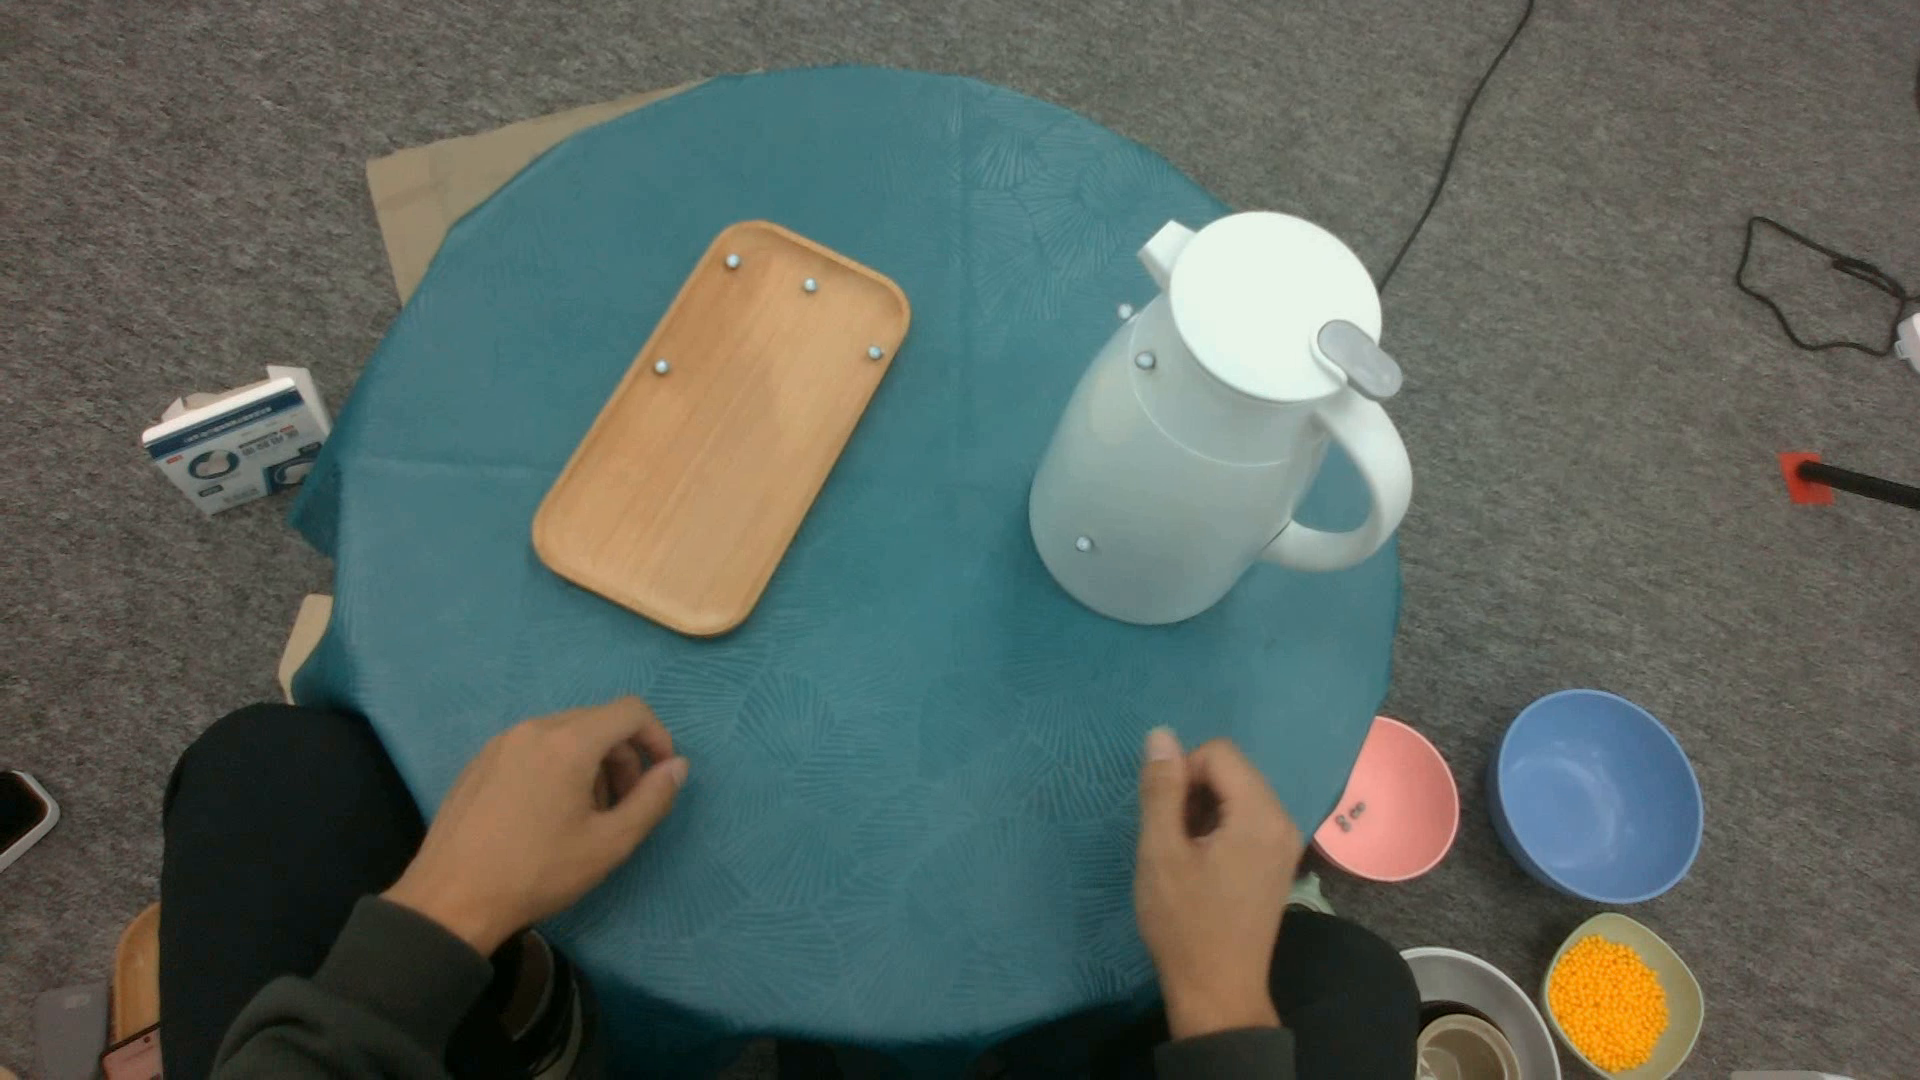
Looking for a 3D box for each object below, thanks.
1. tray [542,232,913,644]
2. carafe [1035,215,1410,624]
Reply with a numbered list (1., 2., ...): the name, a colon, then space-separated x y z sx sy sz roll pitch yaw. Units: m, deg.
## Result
1. tray: -0.129 -0.064 0.795 0.130 0.023 0.251 25 68 6
2. carafe: 0.137 -0.047 0.695 0.168 0.247 0.133 39 69 9
